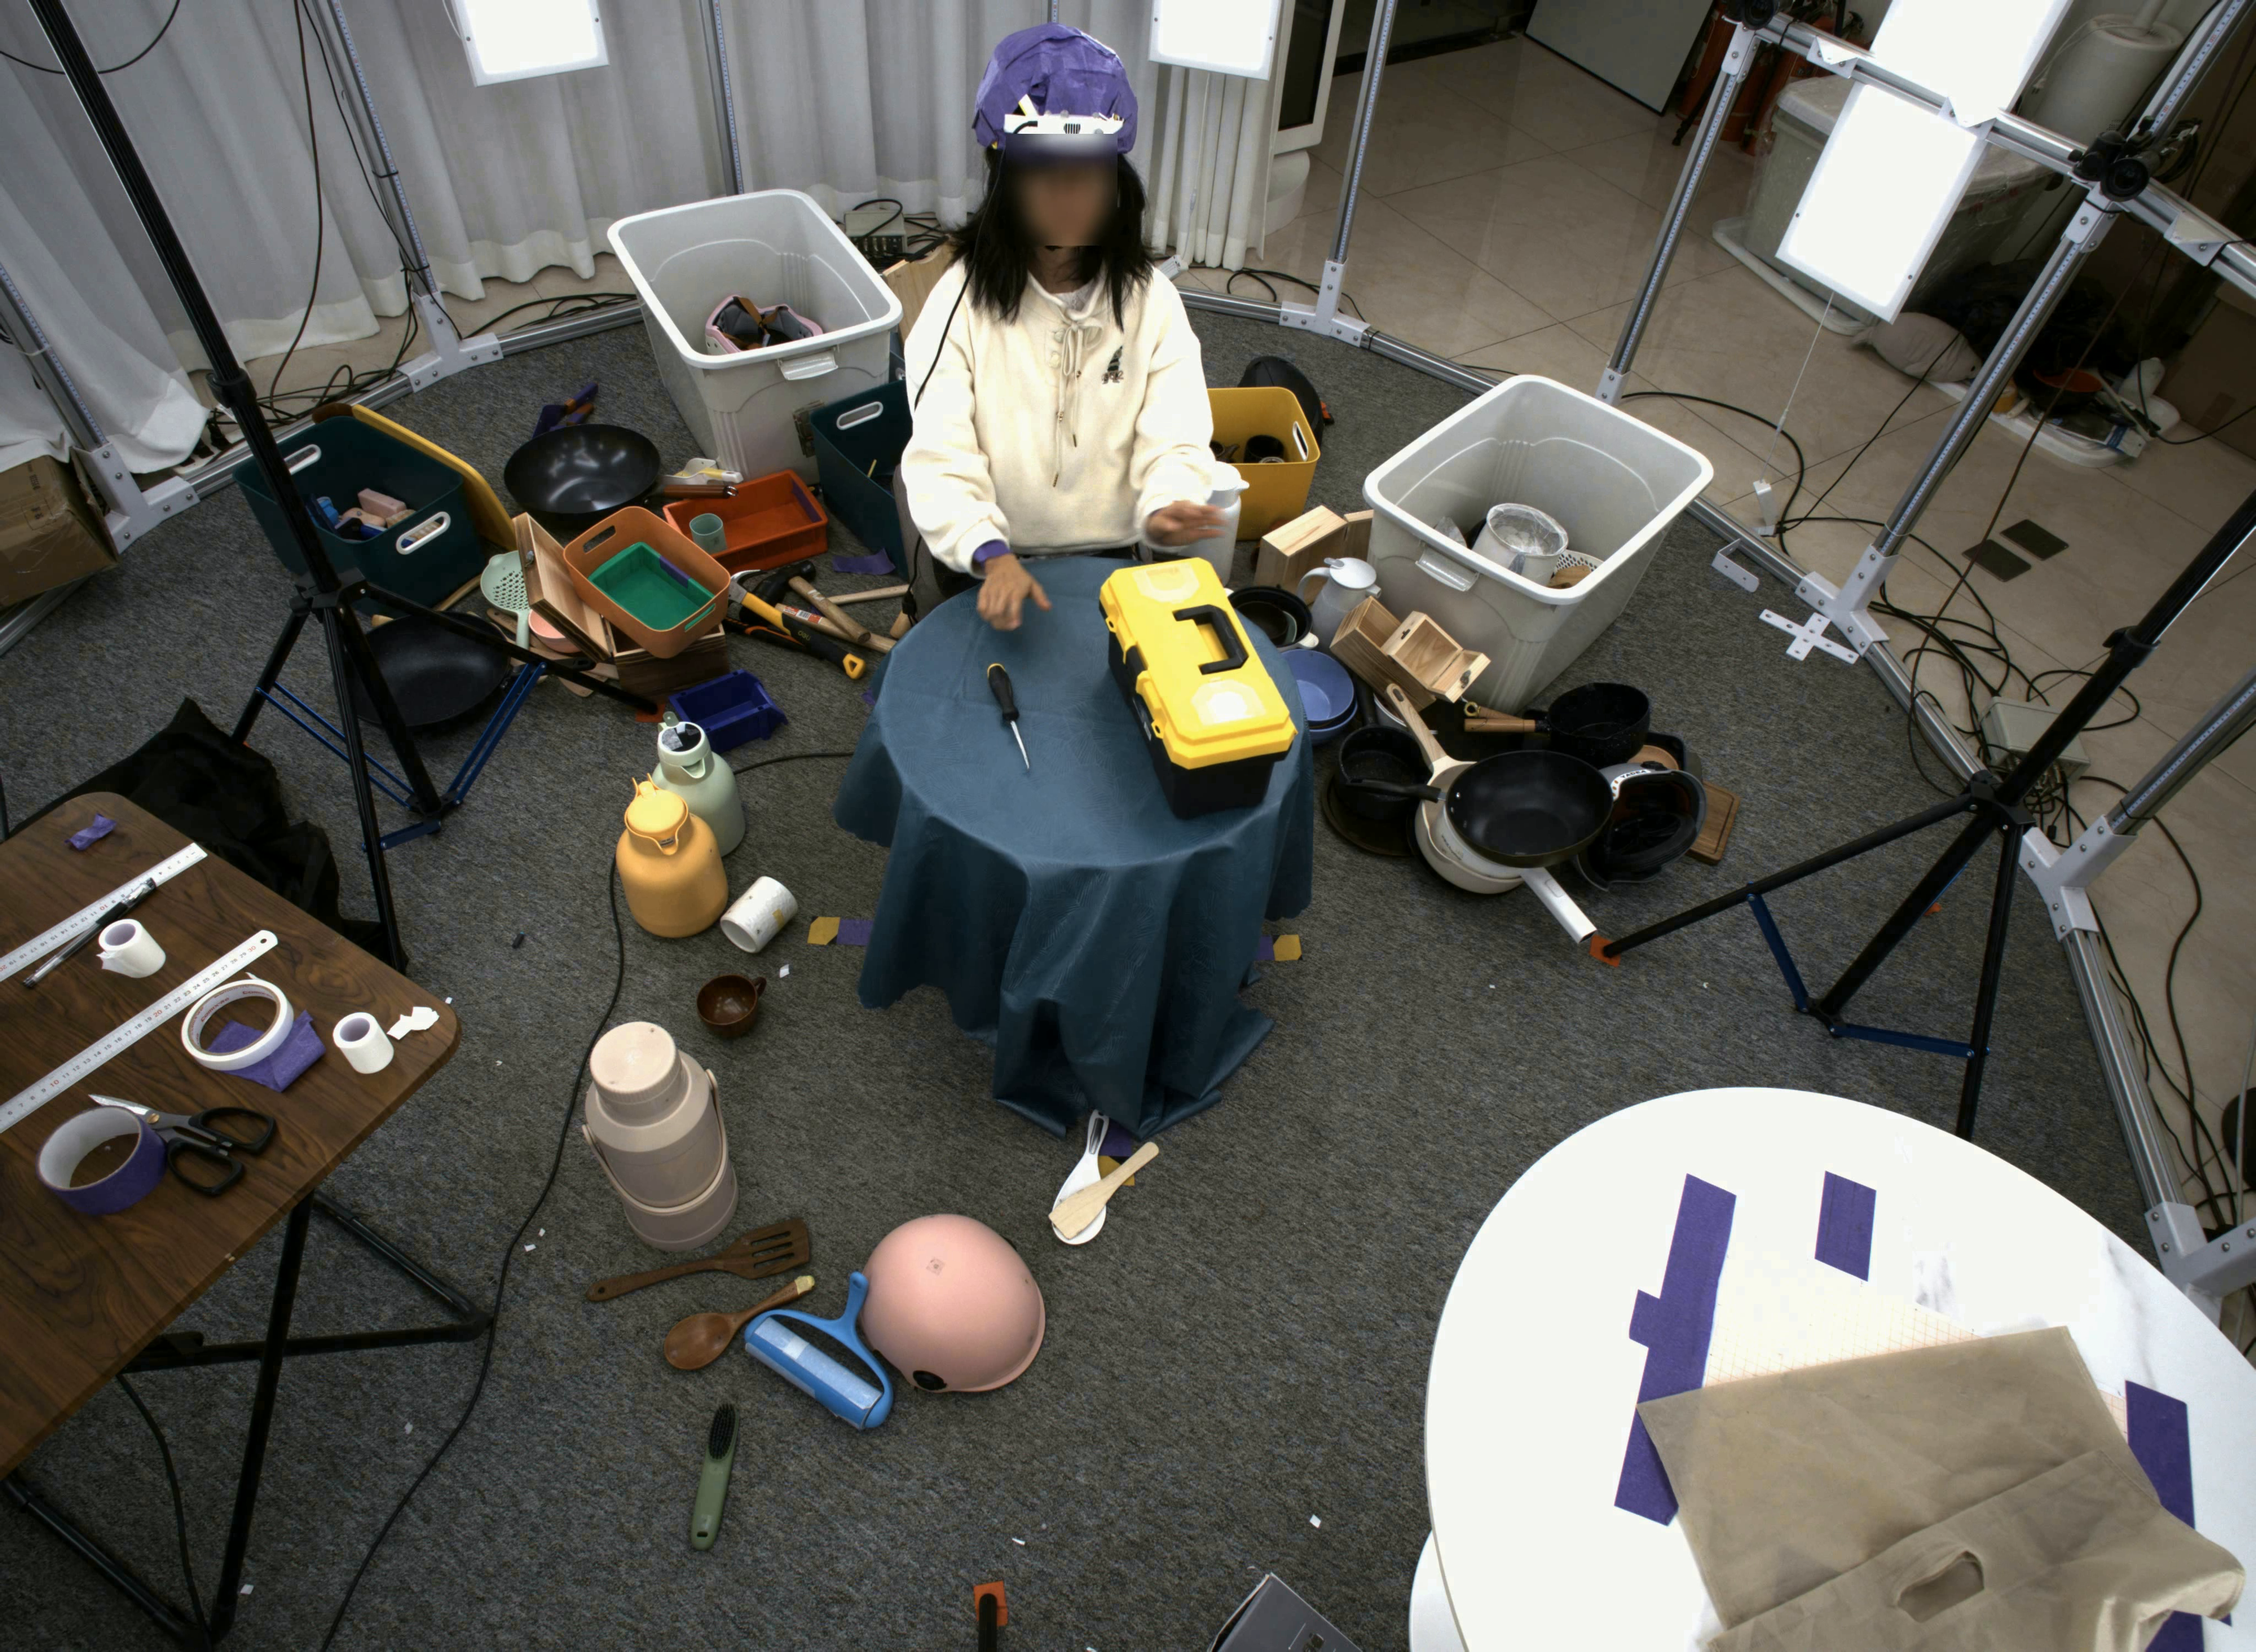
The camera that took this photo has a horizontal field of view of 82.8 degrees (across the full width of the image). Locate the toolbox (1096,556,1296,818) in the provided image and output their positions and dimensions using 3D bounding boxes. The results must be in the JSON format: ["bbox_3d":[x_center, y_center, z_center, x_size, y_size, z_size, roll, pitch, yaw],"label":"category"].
[{"bbox_3d":[0.083,-0.189,1.728,0.181,0.168,0.360,-10,51,-13],"label":"toolbox"}]

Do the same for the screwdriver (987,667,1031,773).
[{"bbox_3d":[-0.162,-0.146,1.779,0.031,0.031,0.202,-10,55,-13],"label":"screwdriver"}]
